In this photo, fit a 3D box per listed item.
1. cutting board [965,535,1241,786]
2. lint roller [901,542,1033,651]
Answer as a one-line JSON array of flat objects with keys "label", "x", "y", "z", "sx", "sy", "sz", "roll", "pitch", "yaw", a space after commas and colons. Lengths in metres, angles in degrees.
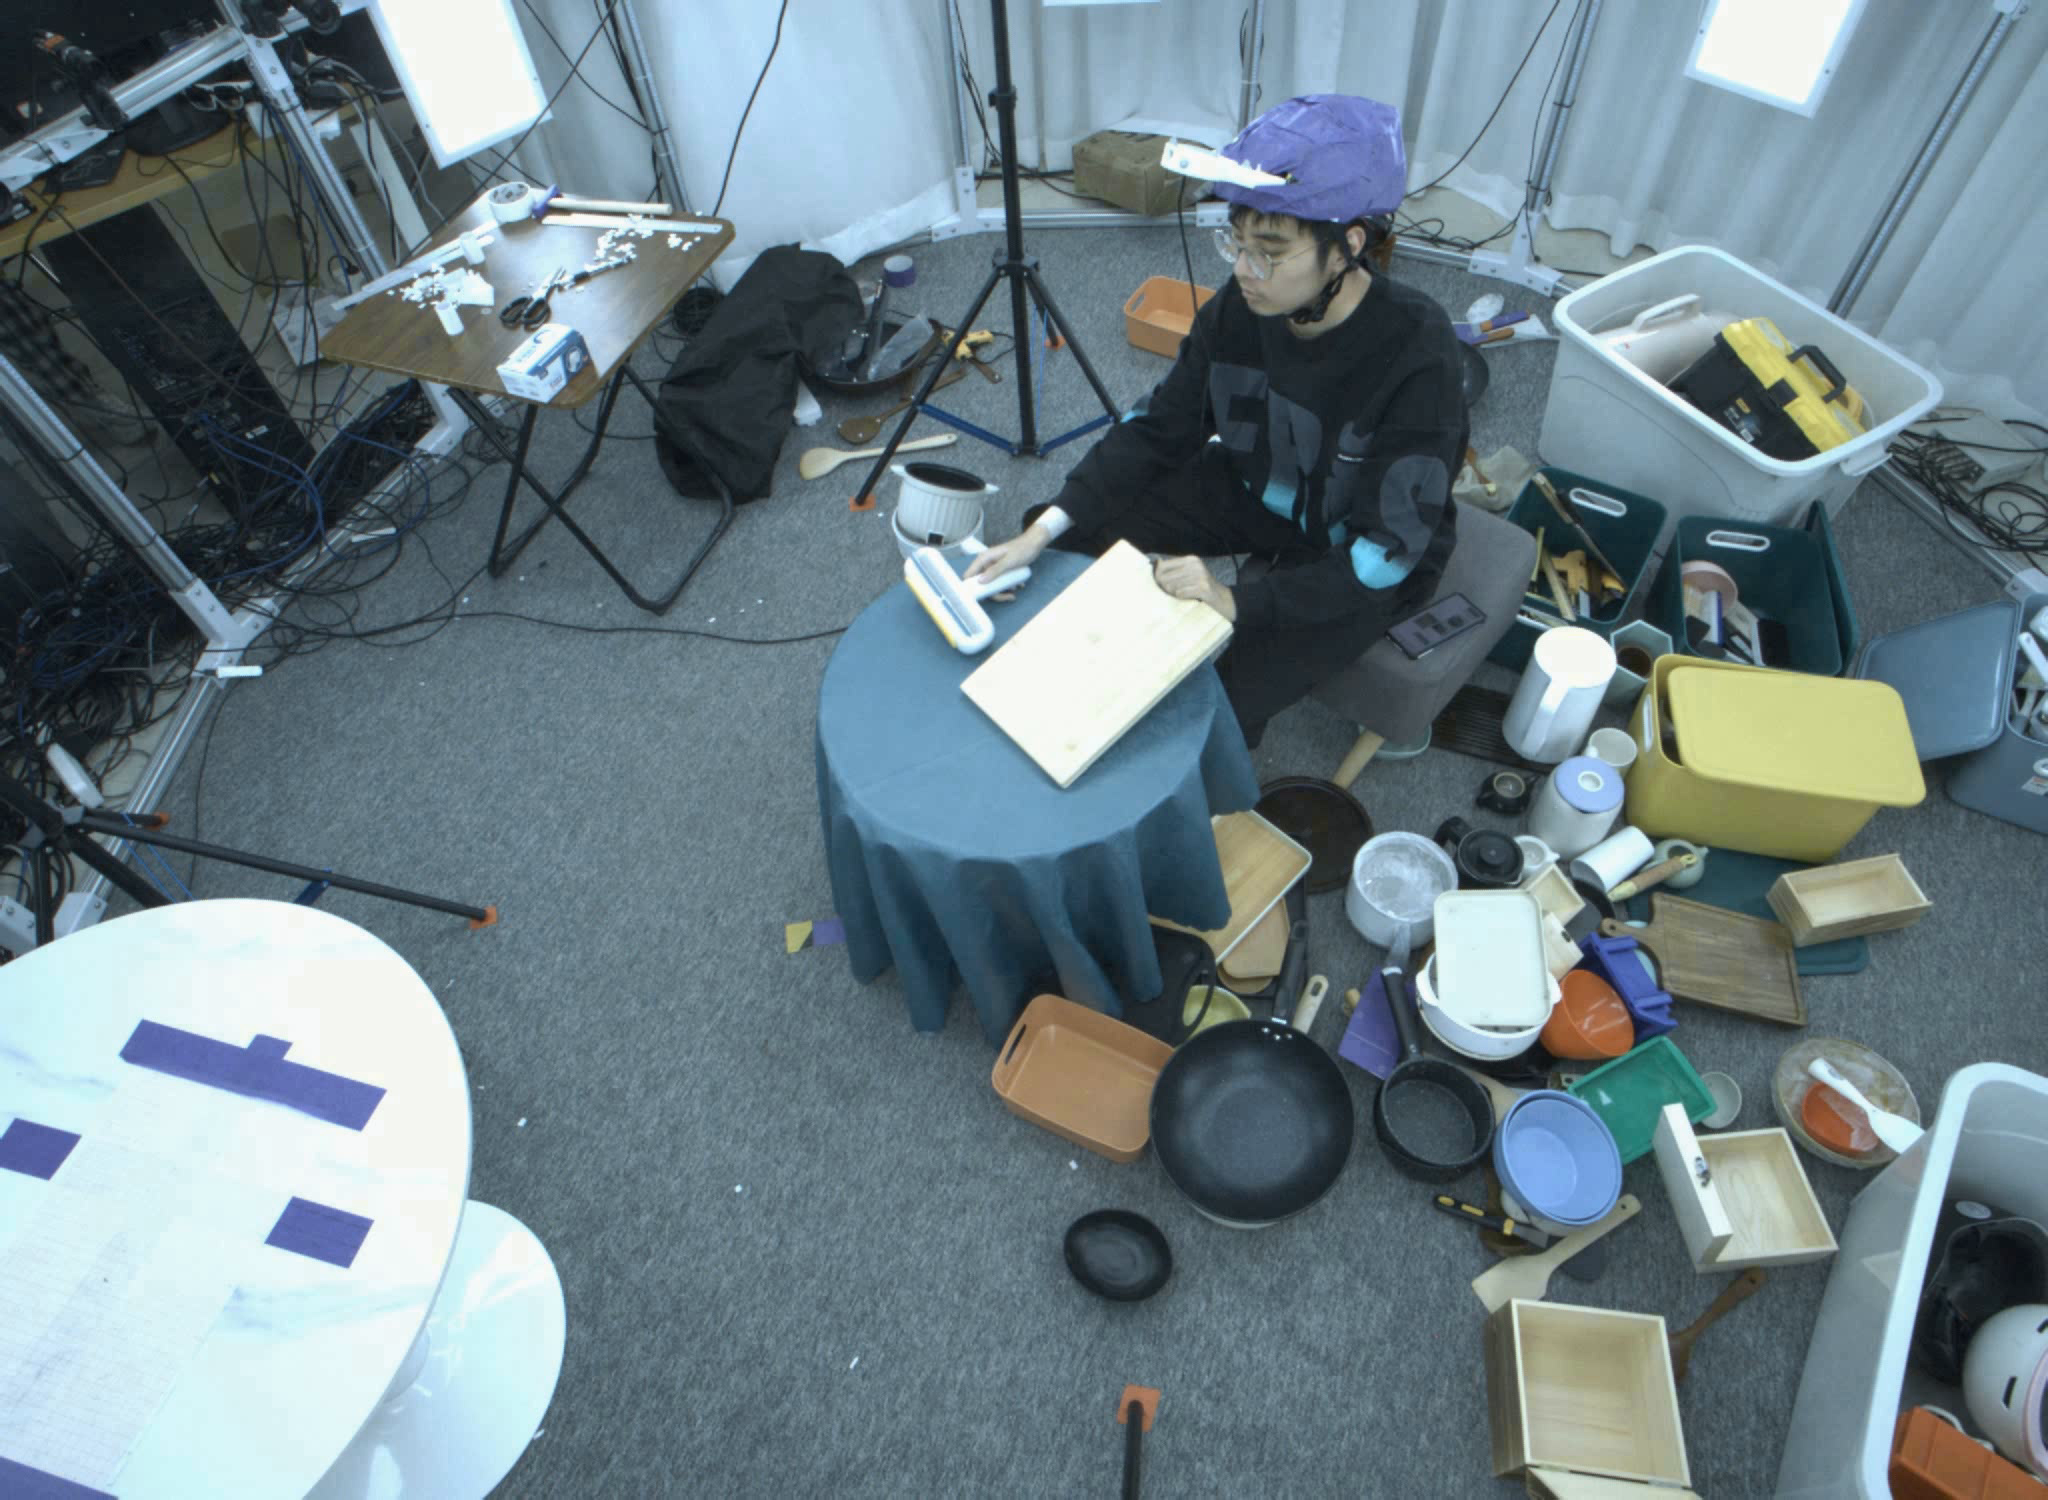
[{"label": "cutting board", "x": 0.110, "y": -0.139, "z": 1.807, "sx": 0.349, "sy": 0.024, "sz": 0.246, "roll": -43, "pitch": 63, "yaw": -6}, {"label": "lint roller", "x": -0.072, "y": -0.259, "z": 1.921, "sx": 0.194, "sy": 0.074, "sz": 0.190, "roll": -27, "pitch": 68, "yaw": -16}]
